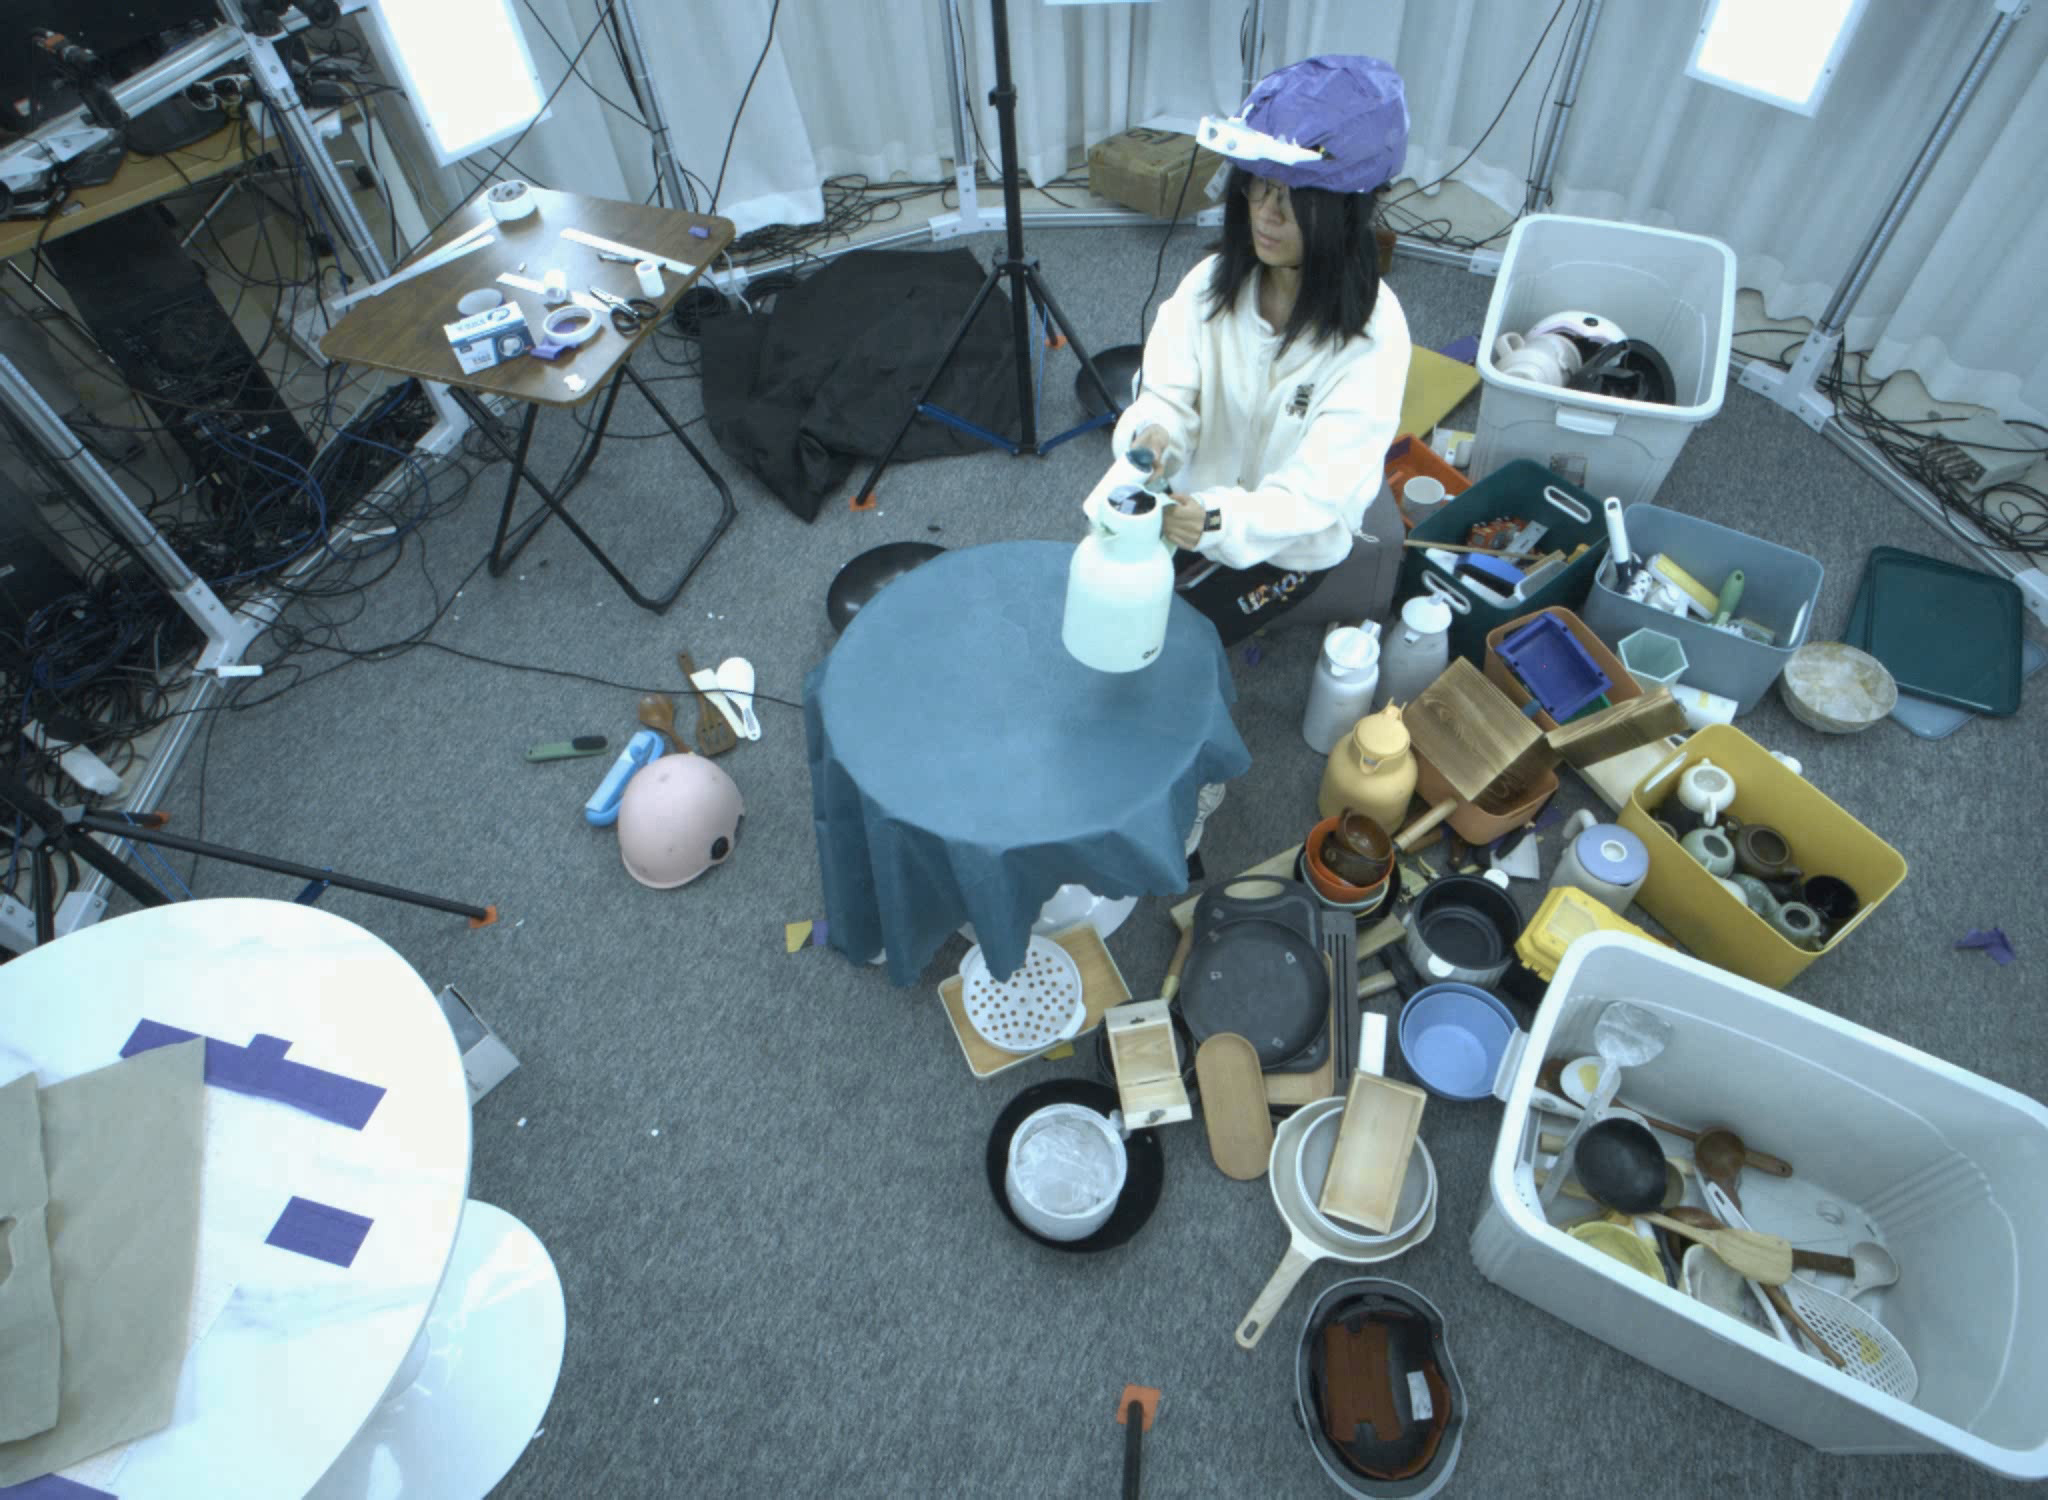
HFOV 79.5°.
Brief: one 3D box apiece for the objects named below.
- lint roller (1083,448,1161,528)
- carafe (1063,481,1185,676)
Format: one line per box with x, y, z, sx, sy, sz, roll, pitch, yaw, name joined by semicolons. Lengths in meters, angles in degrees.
0.146;-0.387;1.687;0.048;0.133;0.180;37;40;-7;lint roller
0.142;-0.239;1.666;0.141;0.258;0.189;37;52;27;carafe
